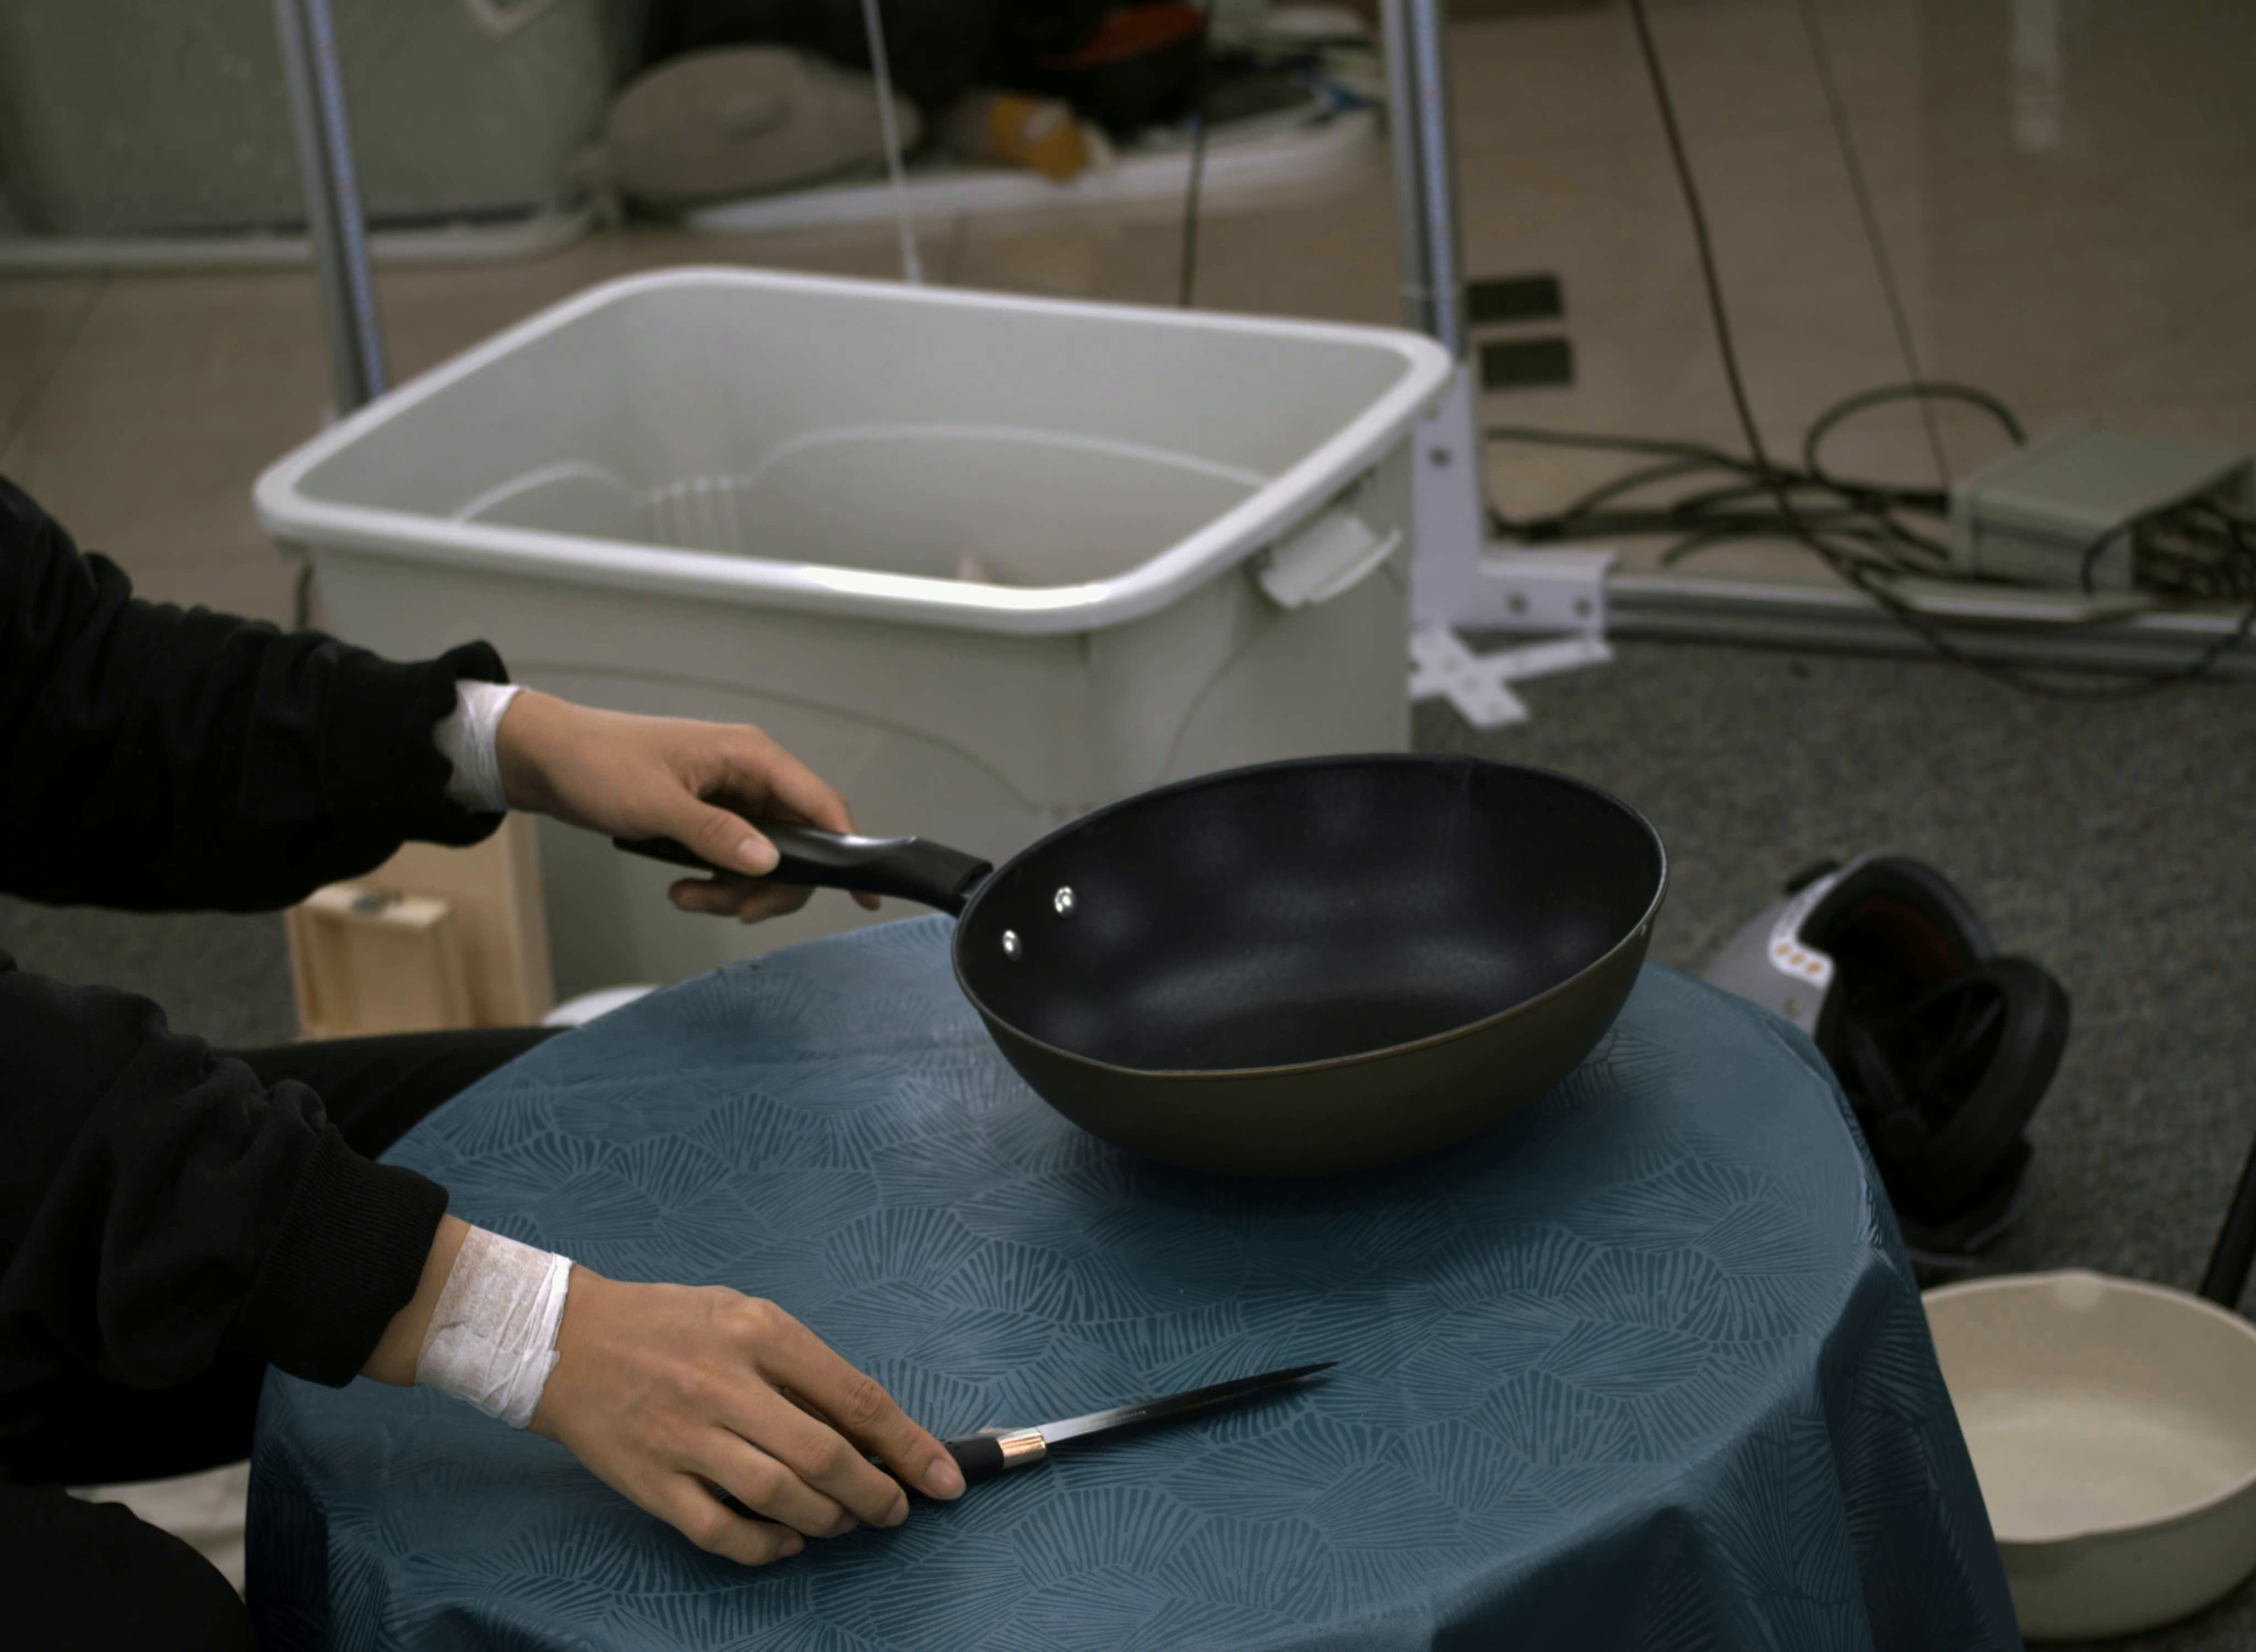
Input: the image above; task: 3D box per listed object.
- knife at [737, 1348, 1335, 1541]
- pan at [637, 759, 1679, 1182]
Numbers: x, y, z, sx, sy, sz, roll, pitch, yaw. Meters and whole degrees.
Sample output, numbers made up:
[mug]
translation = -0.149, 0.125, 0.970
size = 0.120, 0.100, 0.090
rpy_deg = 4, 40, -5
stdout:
[knife]
translation = -0.030, 0.214, 1.985
size = 0.225, 0.017, 0.026
rpy_deg = -14, 3, -15
[pan]
translation = -0.001, 0.057, 2.233
size = 0.461, 0.088, 0.285
rpy_deg = 6, 28, 31
